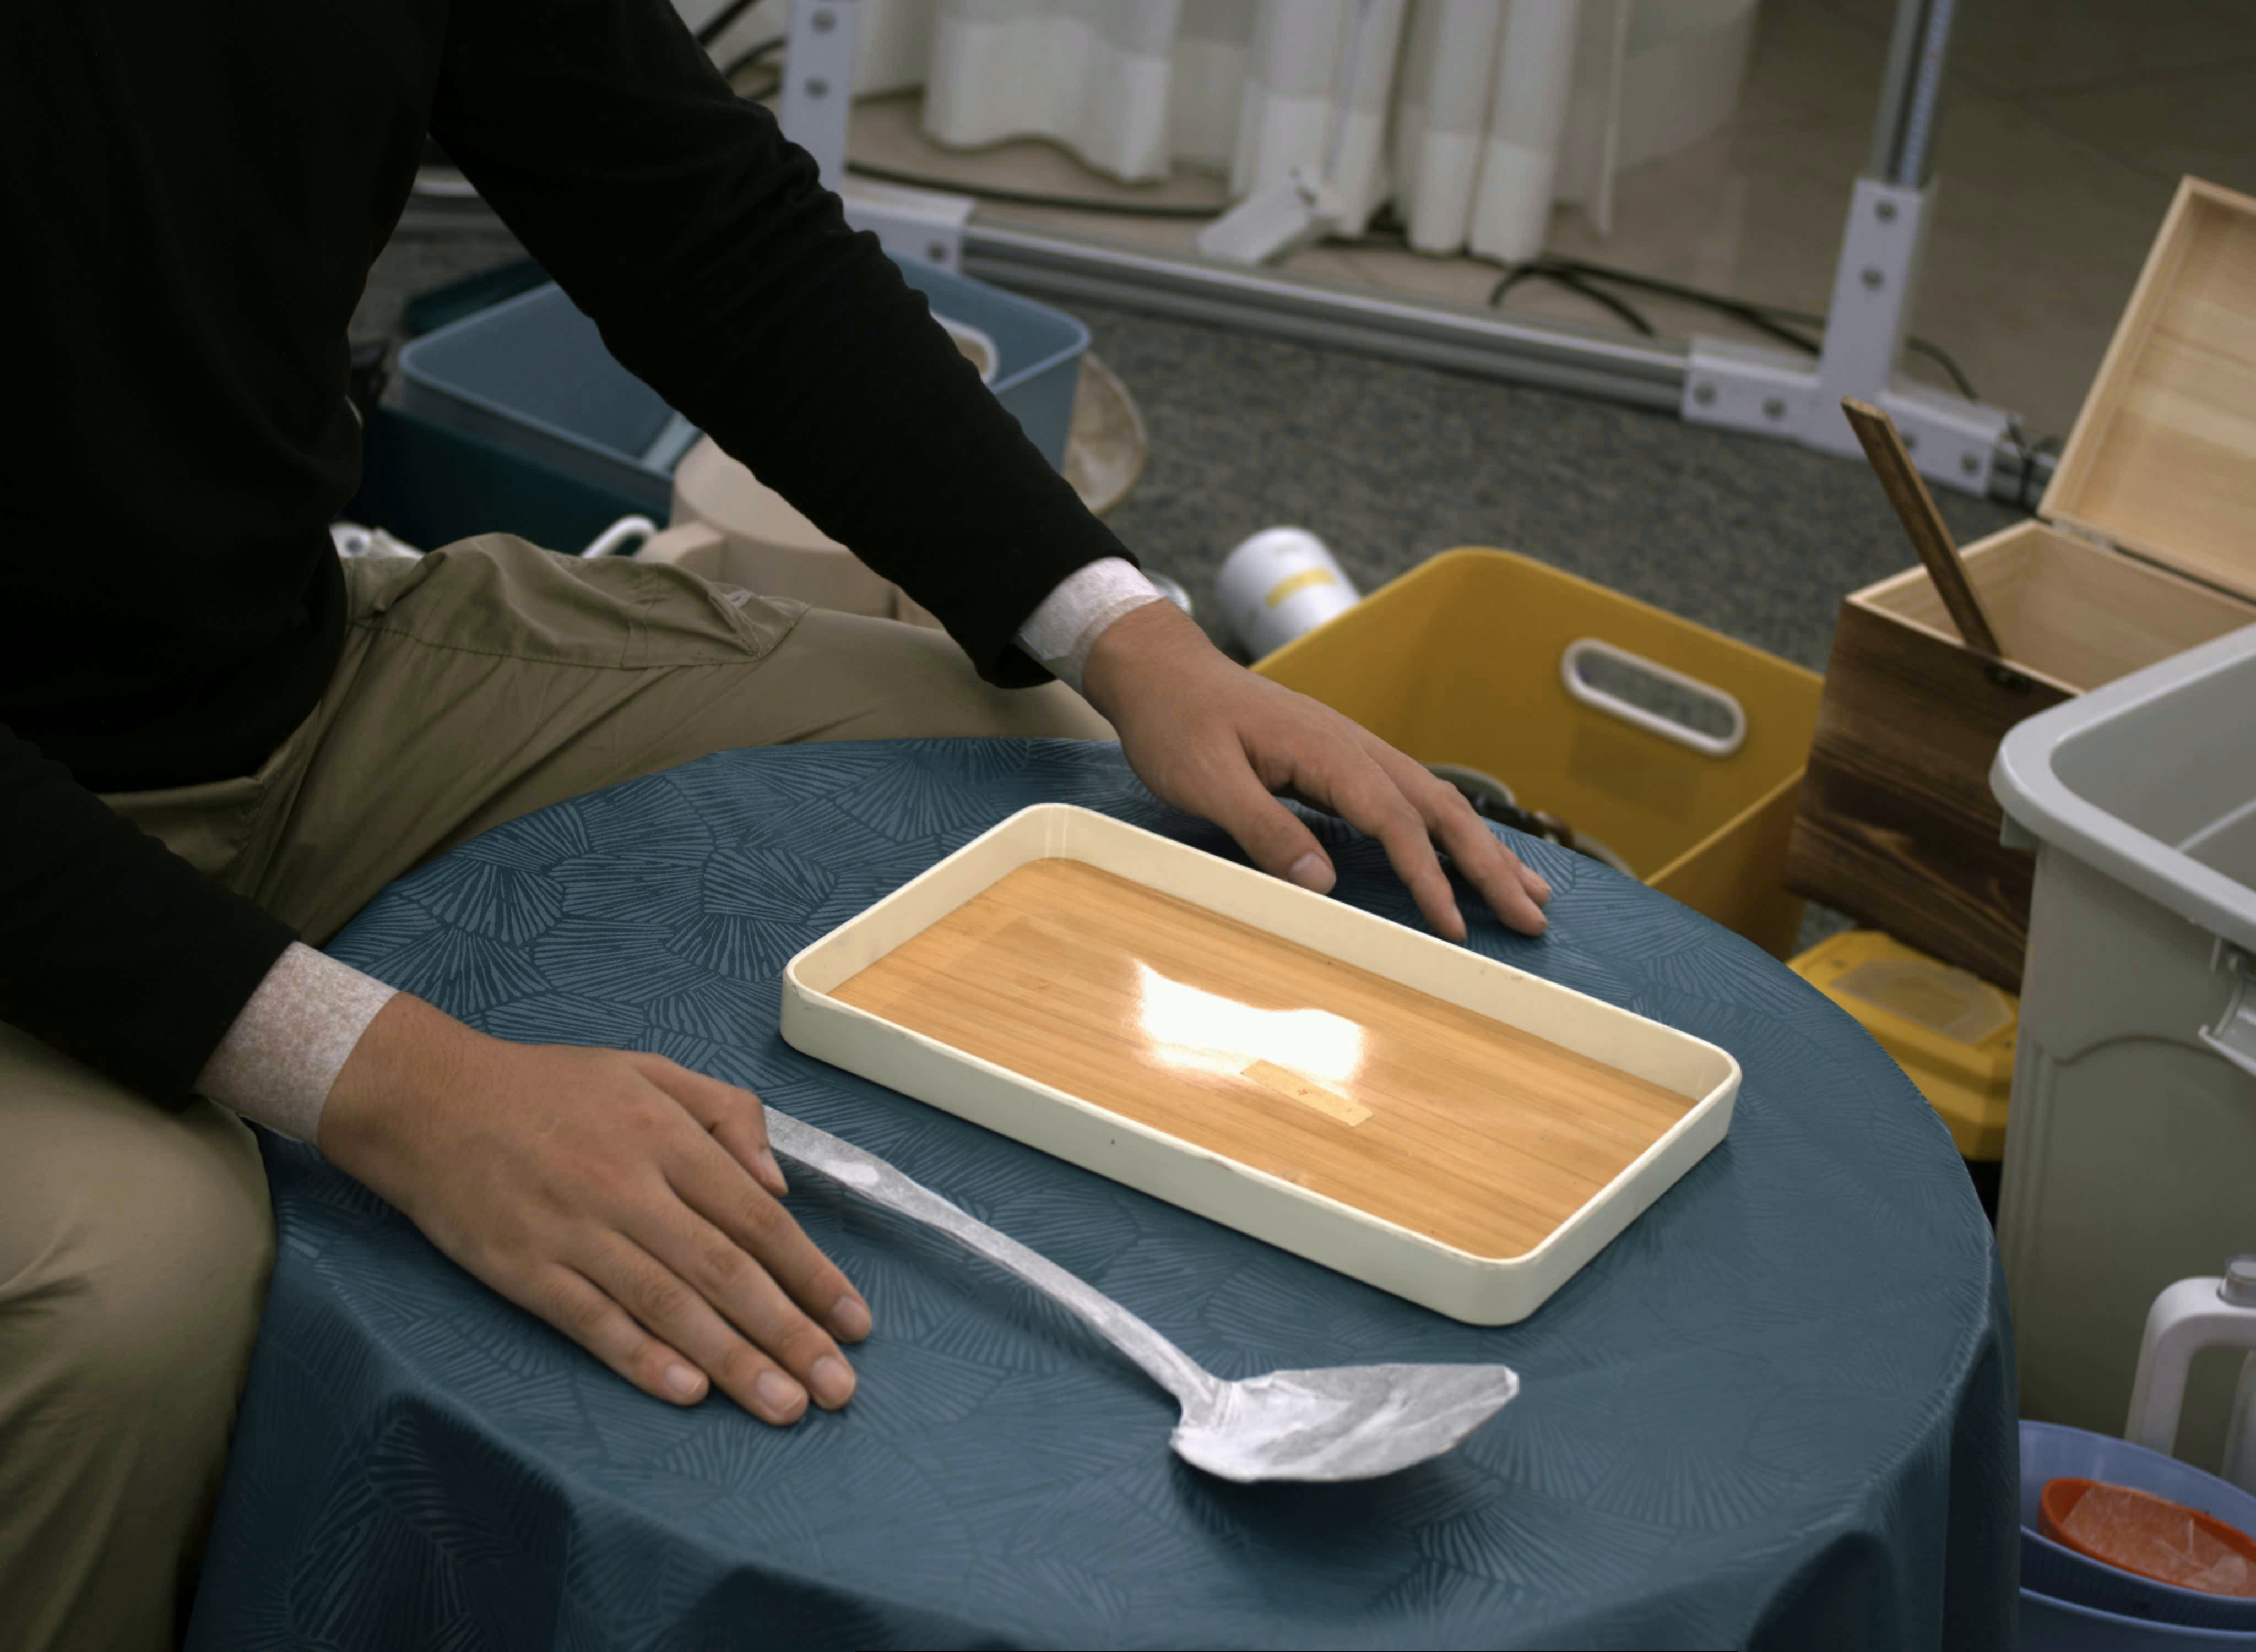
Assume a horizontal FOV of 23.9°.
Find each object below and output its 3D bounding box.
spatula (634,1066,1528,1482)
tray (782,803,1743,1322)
[{"bbox_3d":[-0.036,0.137,1.726,0.367,0.044,0.098,26,33,33],"label":"spatula"},{"bbox_3d":[0.047,0.078,1.871,0.302,0.027,0.191,21,30,26],"label":"tray"}]
